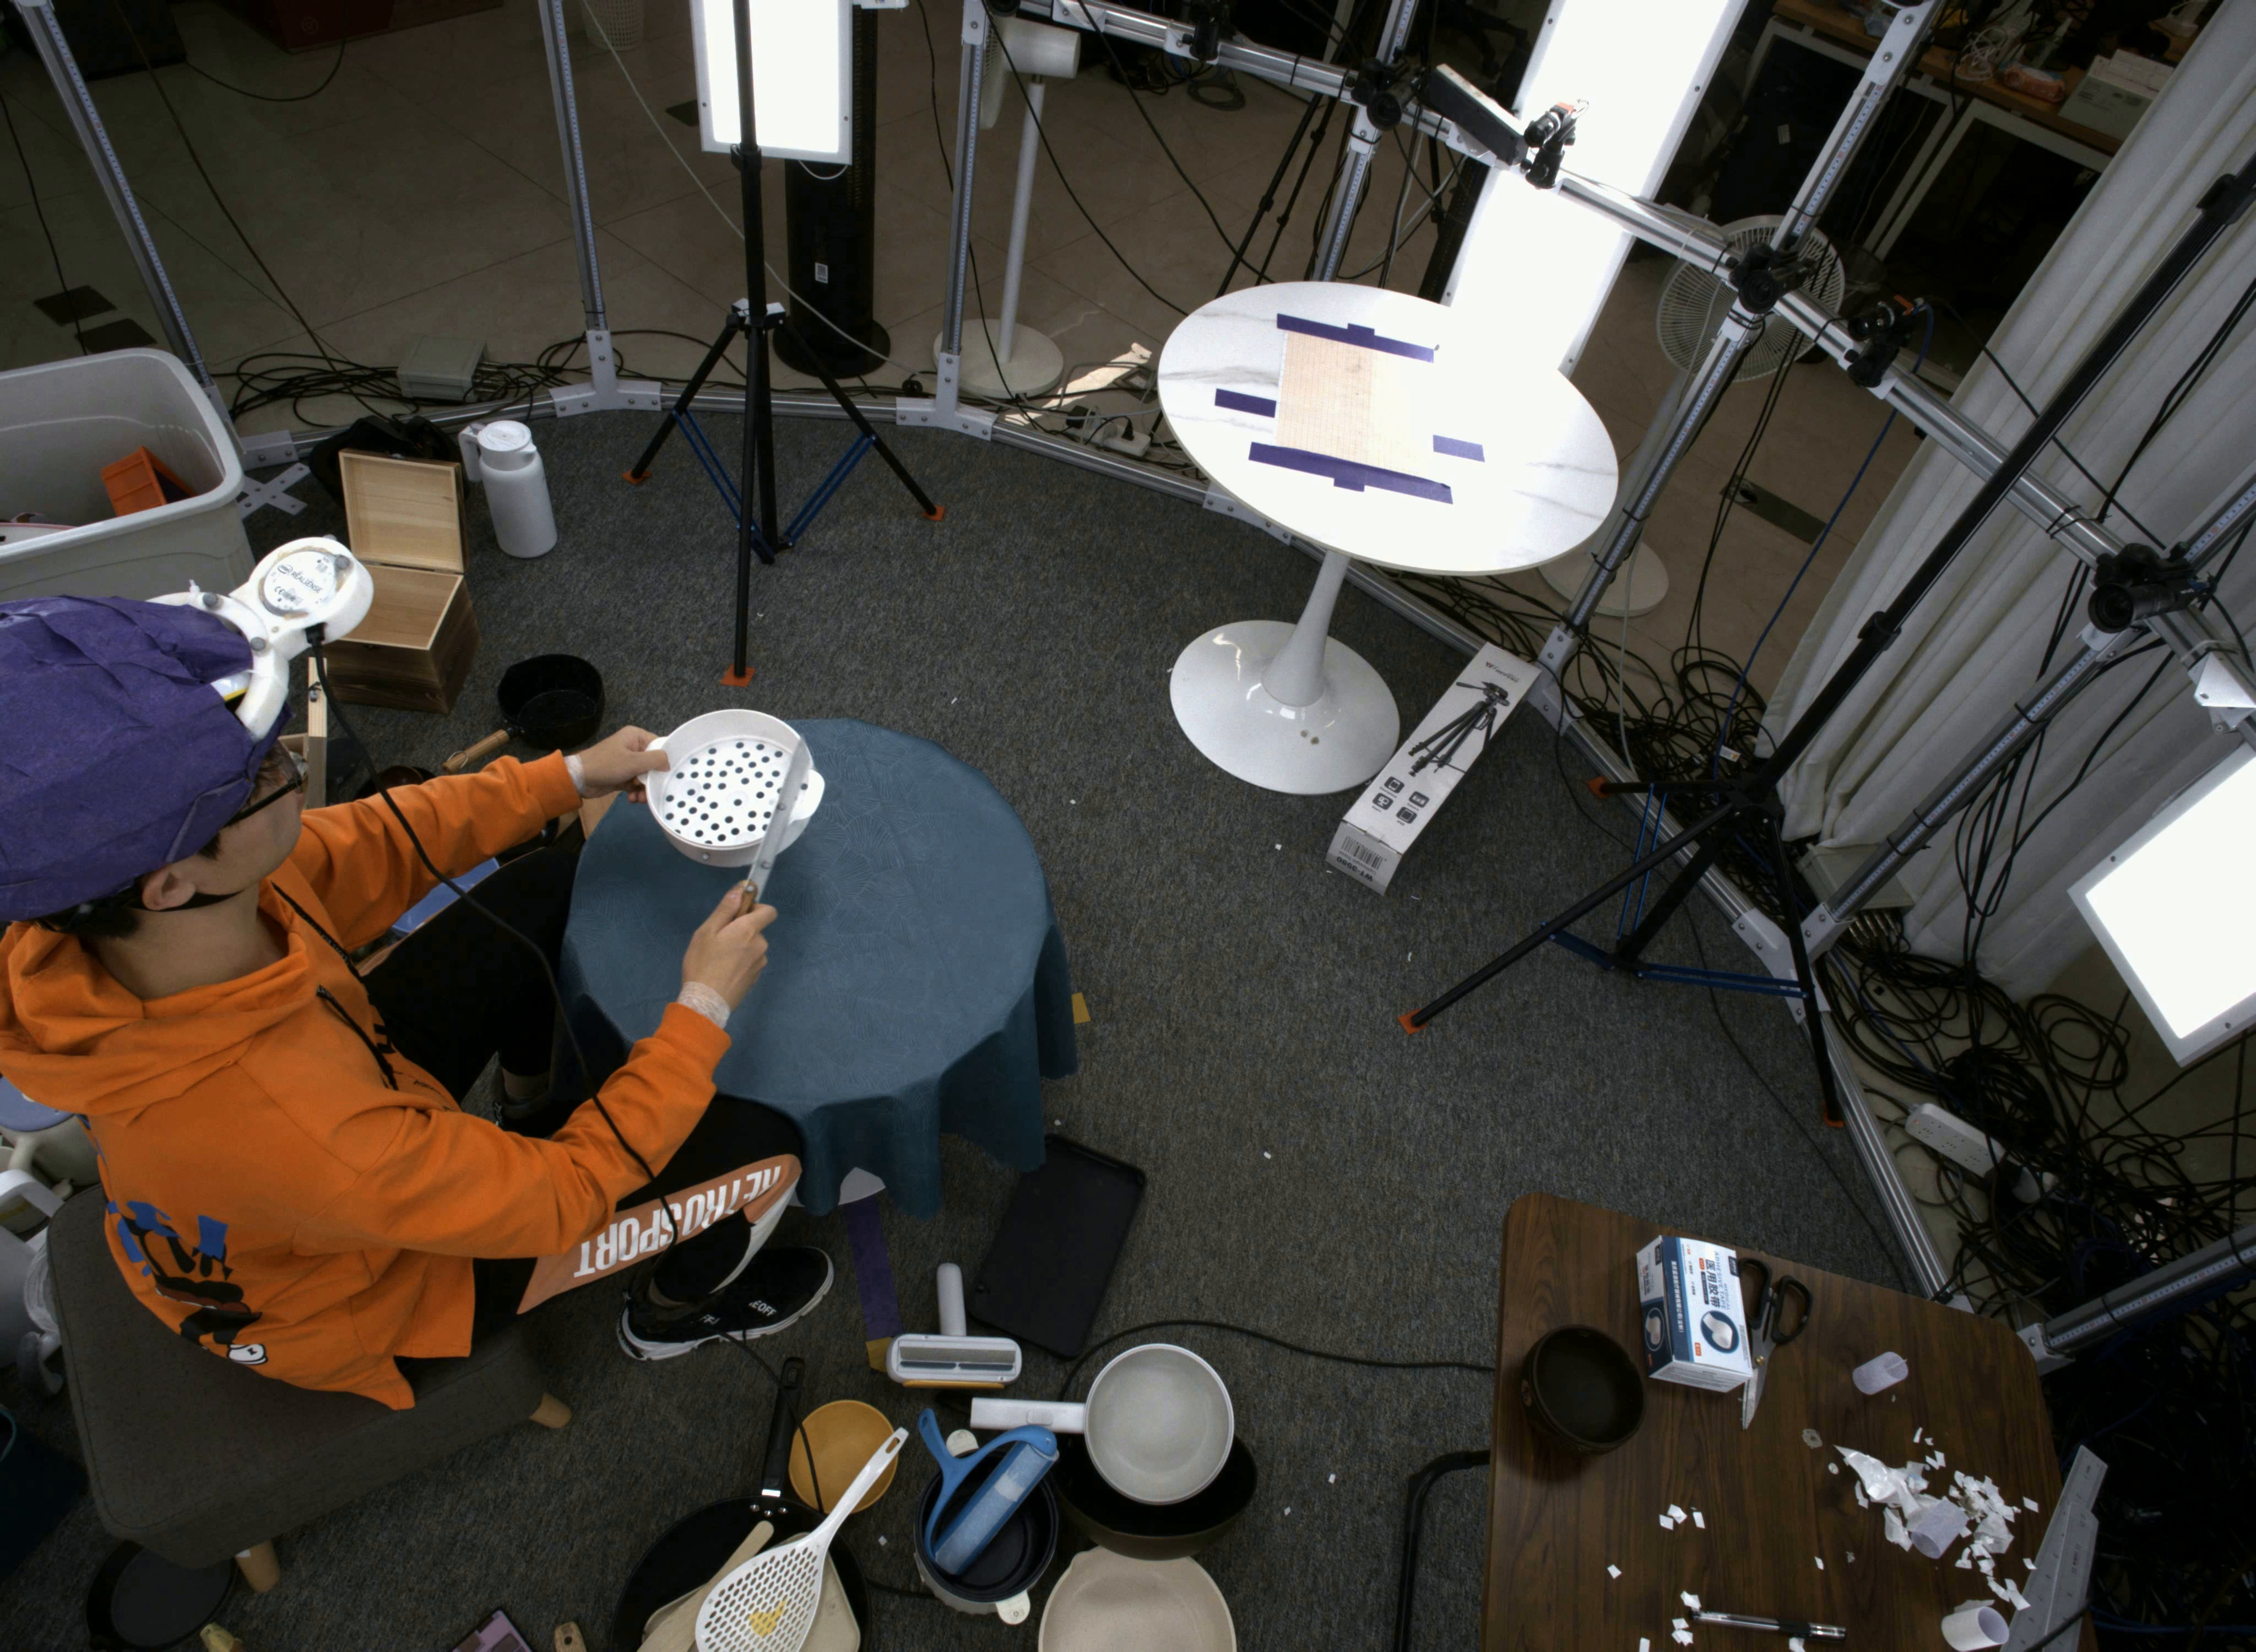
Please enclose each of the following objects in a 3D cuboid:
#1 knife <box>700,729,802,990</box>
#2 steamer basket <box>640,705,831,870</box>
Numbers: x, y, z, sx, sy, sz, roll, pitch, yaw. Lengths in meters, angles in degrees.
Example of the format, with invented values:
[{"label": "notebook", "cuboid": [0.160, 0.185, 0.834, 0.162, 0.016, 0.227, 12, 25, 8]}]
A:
[{"label": "knife", "cuboid": [-0.419, 0.040, 1.459, 0.021, 0.093, 0.305, 15, 73, -3]}, {"label": "steamer basket", "cuboid": [-0.477, -0.047, 1.577, 0.229, 0.070, 0.200, 13, 61, -5]}]
